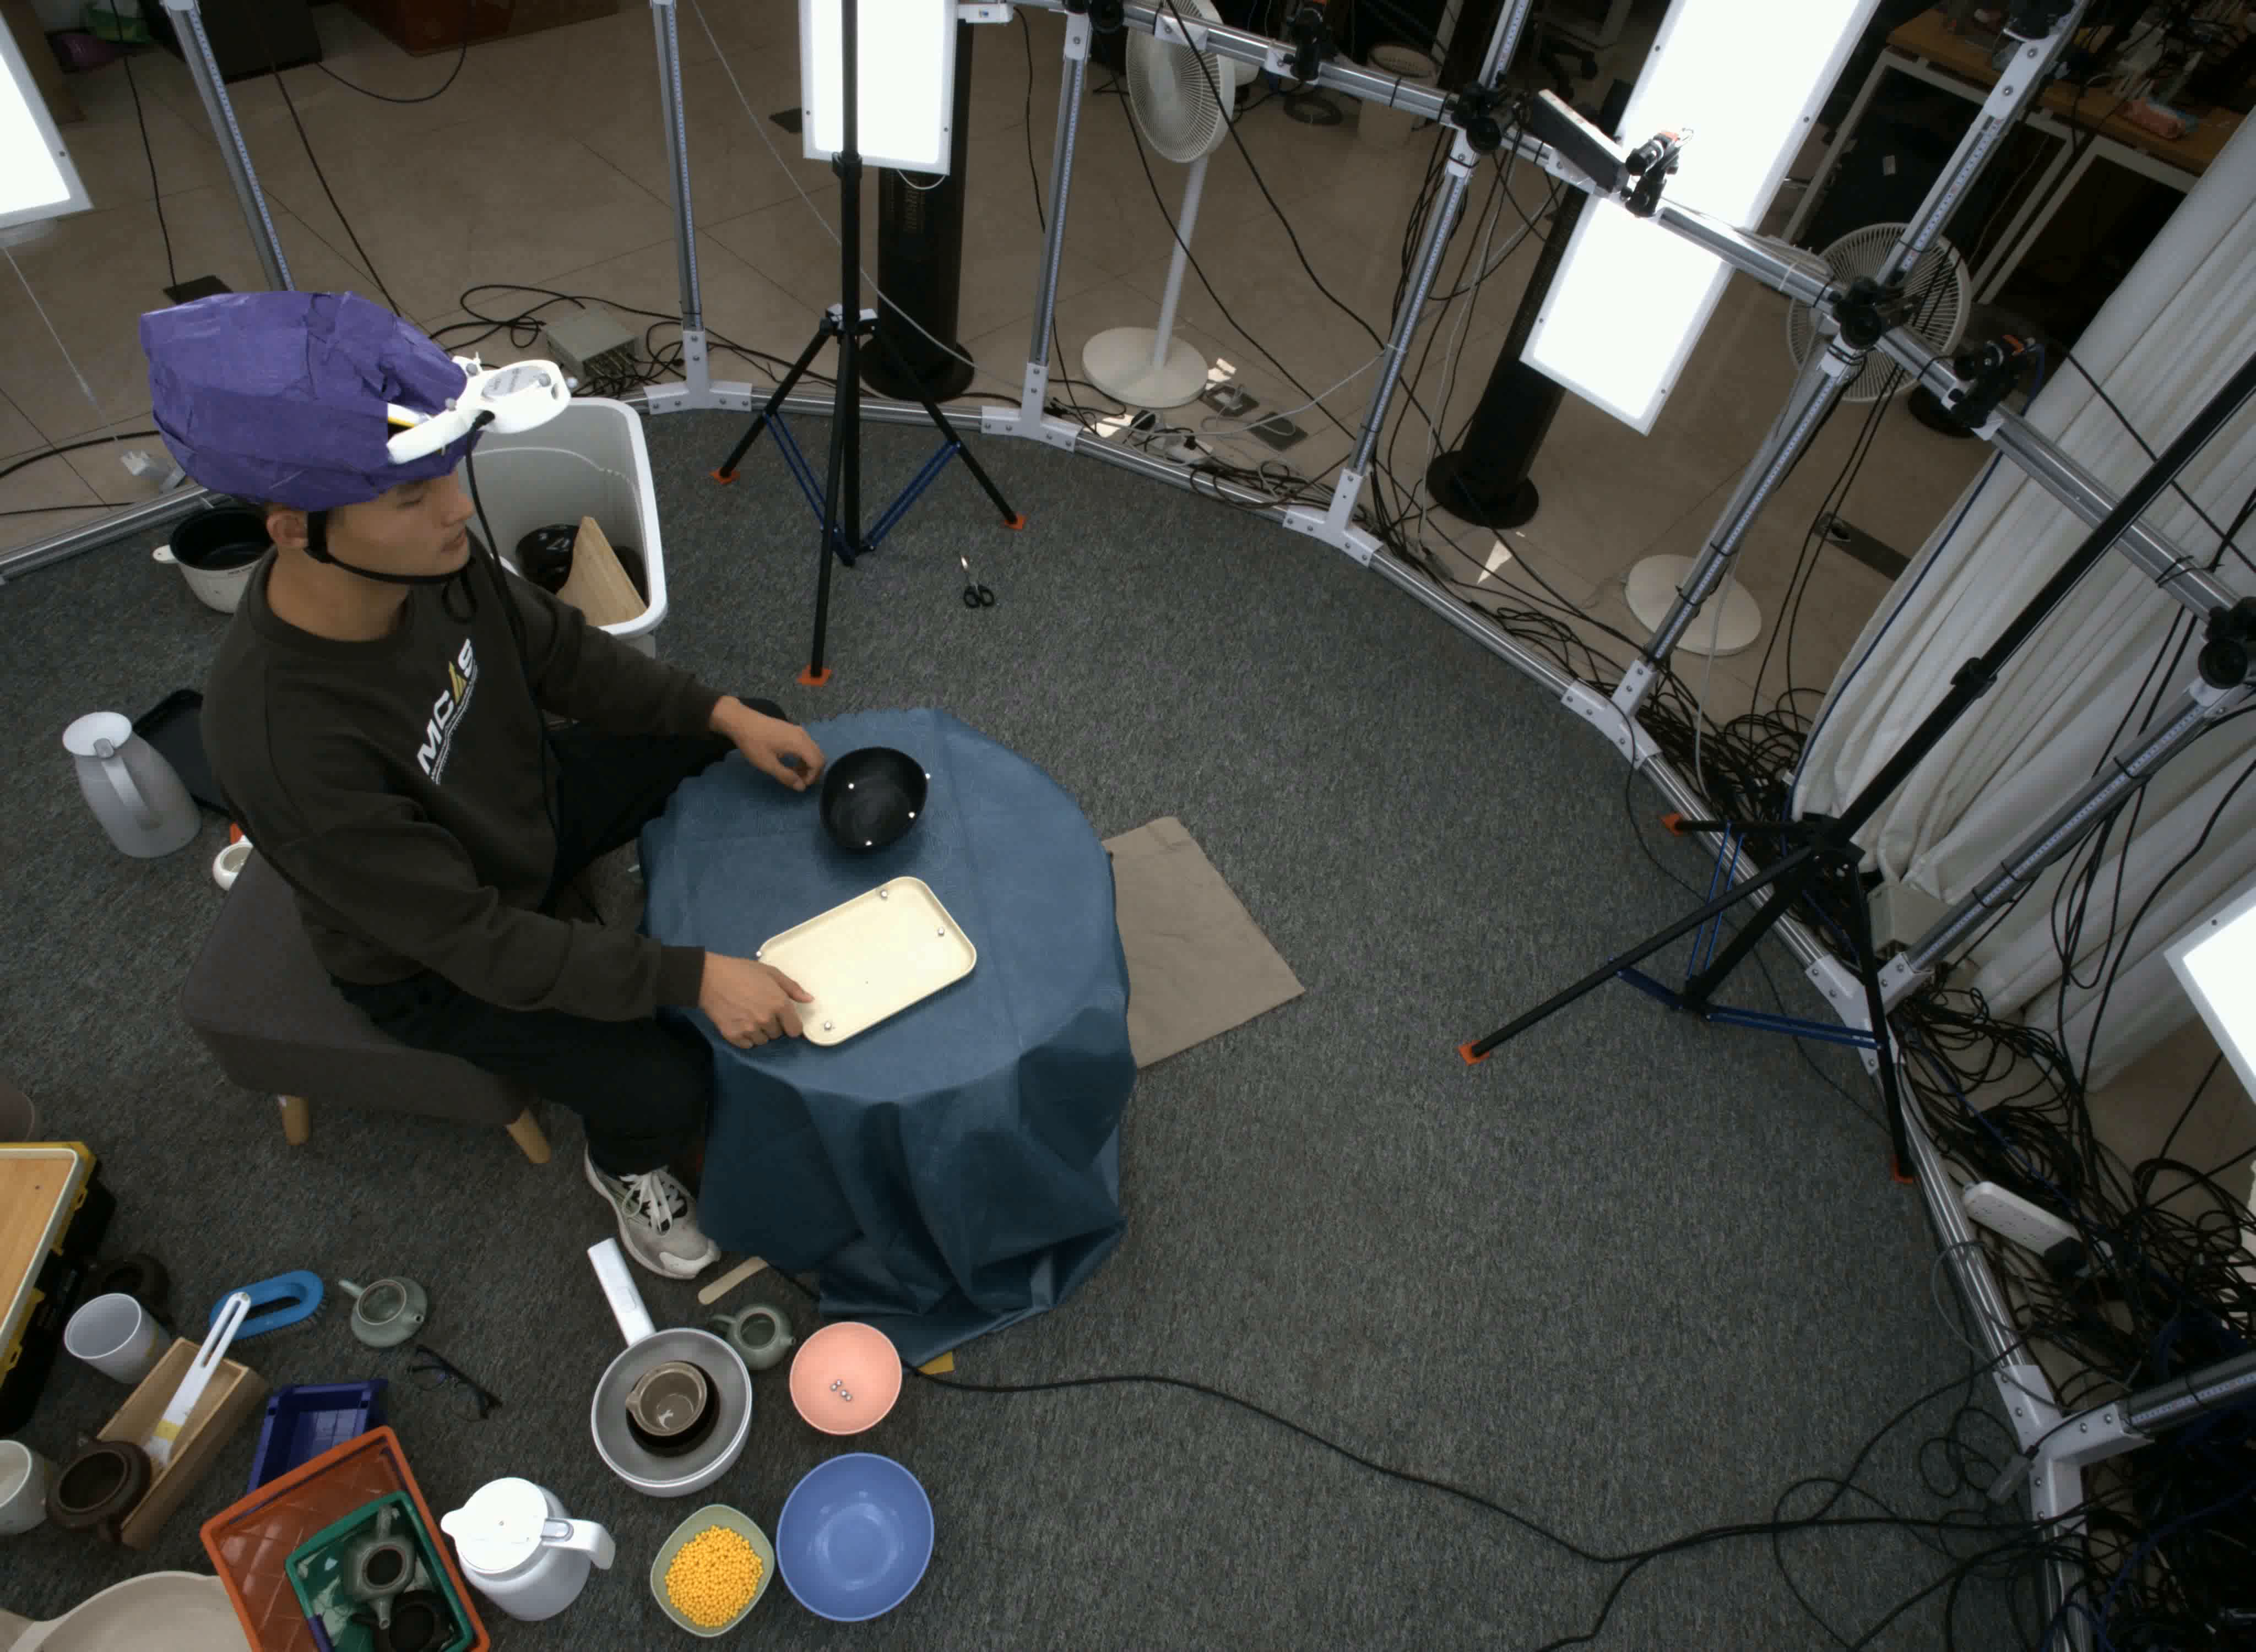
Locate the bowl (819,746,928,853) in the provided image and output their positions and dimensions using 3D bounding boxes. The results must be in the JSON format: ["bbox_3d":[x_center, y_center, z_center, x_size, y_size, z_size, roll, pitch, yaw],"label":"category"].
[{"bbox_3d":[-0.339,-0.025,1.735,0.136,0.068,0.168,16,54,1],"label":"bowl"}]

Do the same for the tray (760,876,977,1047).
[{"bbox_3d":[-0.323,0.165,1.625,0.240,0.018,0.167,-28,65,-29],"label":"tray"}]
